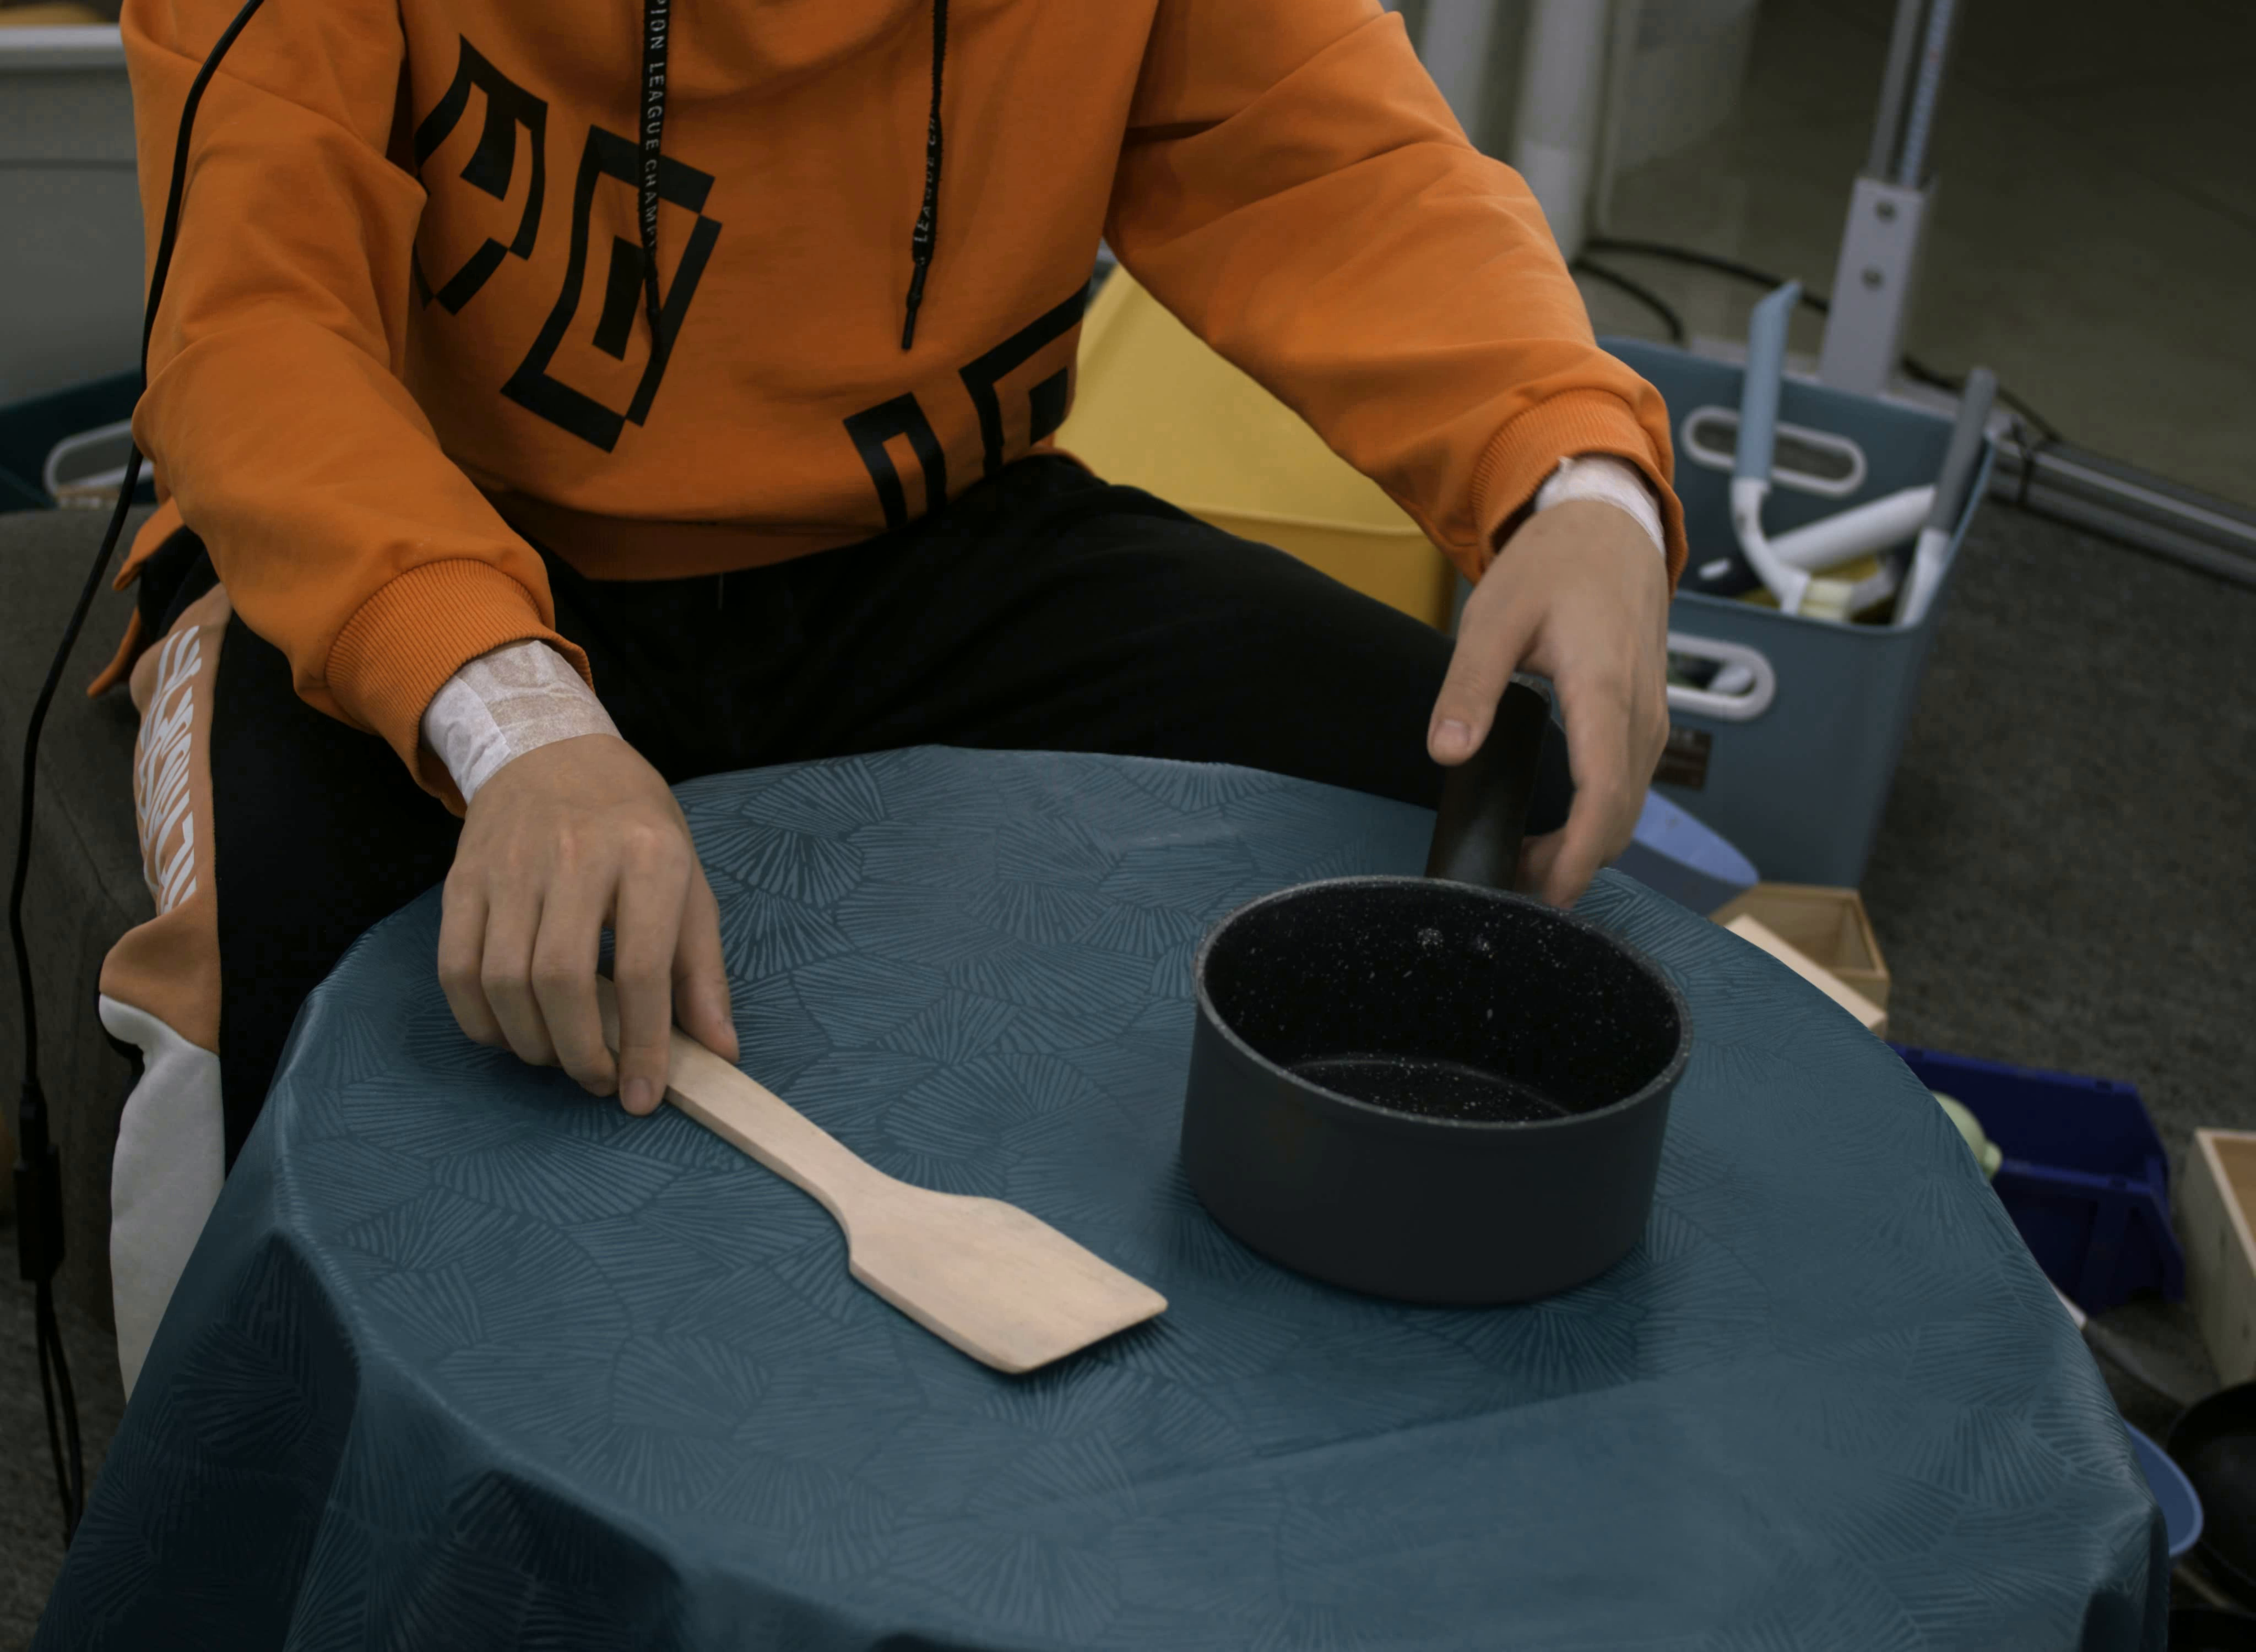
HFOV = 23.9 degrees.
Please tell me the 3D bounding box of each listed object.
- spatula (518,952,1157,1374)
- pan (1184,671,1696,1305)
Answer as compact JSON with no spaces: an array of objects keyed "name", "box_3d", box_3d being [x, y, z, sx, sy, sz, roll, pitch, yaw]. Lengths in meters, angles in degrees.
[{"name":"spatula","box_3d":[-0.112,0.109,1.797,0.072,0.010,0.295,-21,38,-37]},{"name":"pan","box_3d":[0.118,0.052,1.876,0.172,0.086,0.330,11,29,7]}]
